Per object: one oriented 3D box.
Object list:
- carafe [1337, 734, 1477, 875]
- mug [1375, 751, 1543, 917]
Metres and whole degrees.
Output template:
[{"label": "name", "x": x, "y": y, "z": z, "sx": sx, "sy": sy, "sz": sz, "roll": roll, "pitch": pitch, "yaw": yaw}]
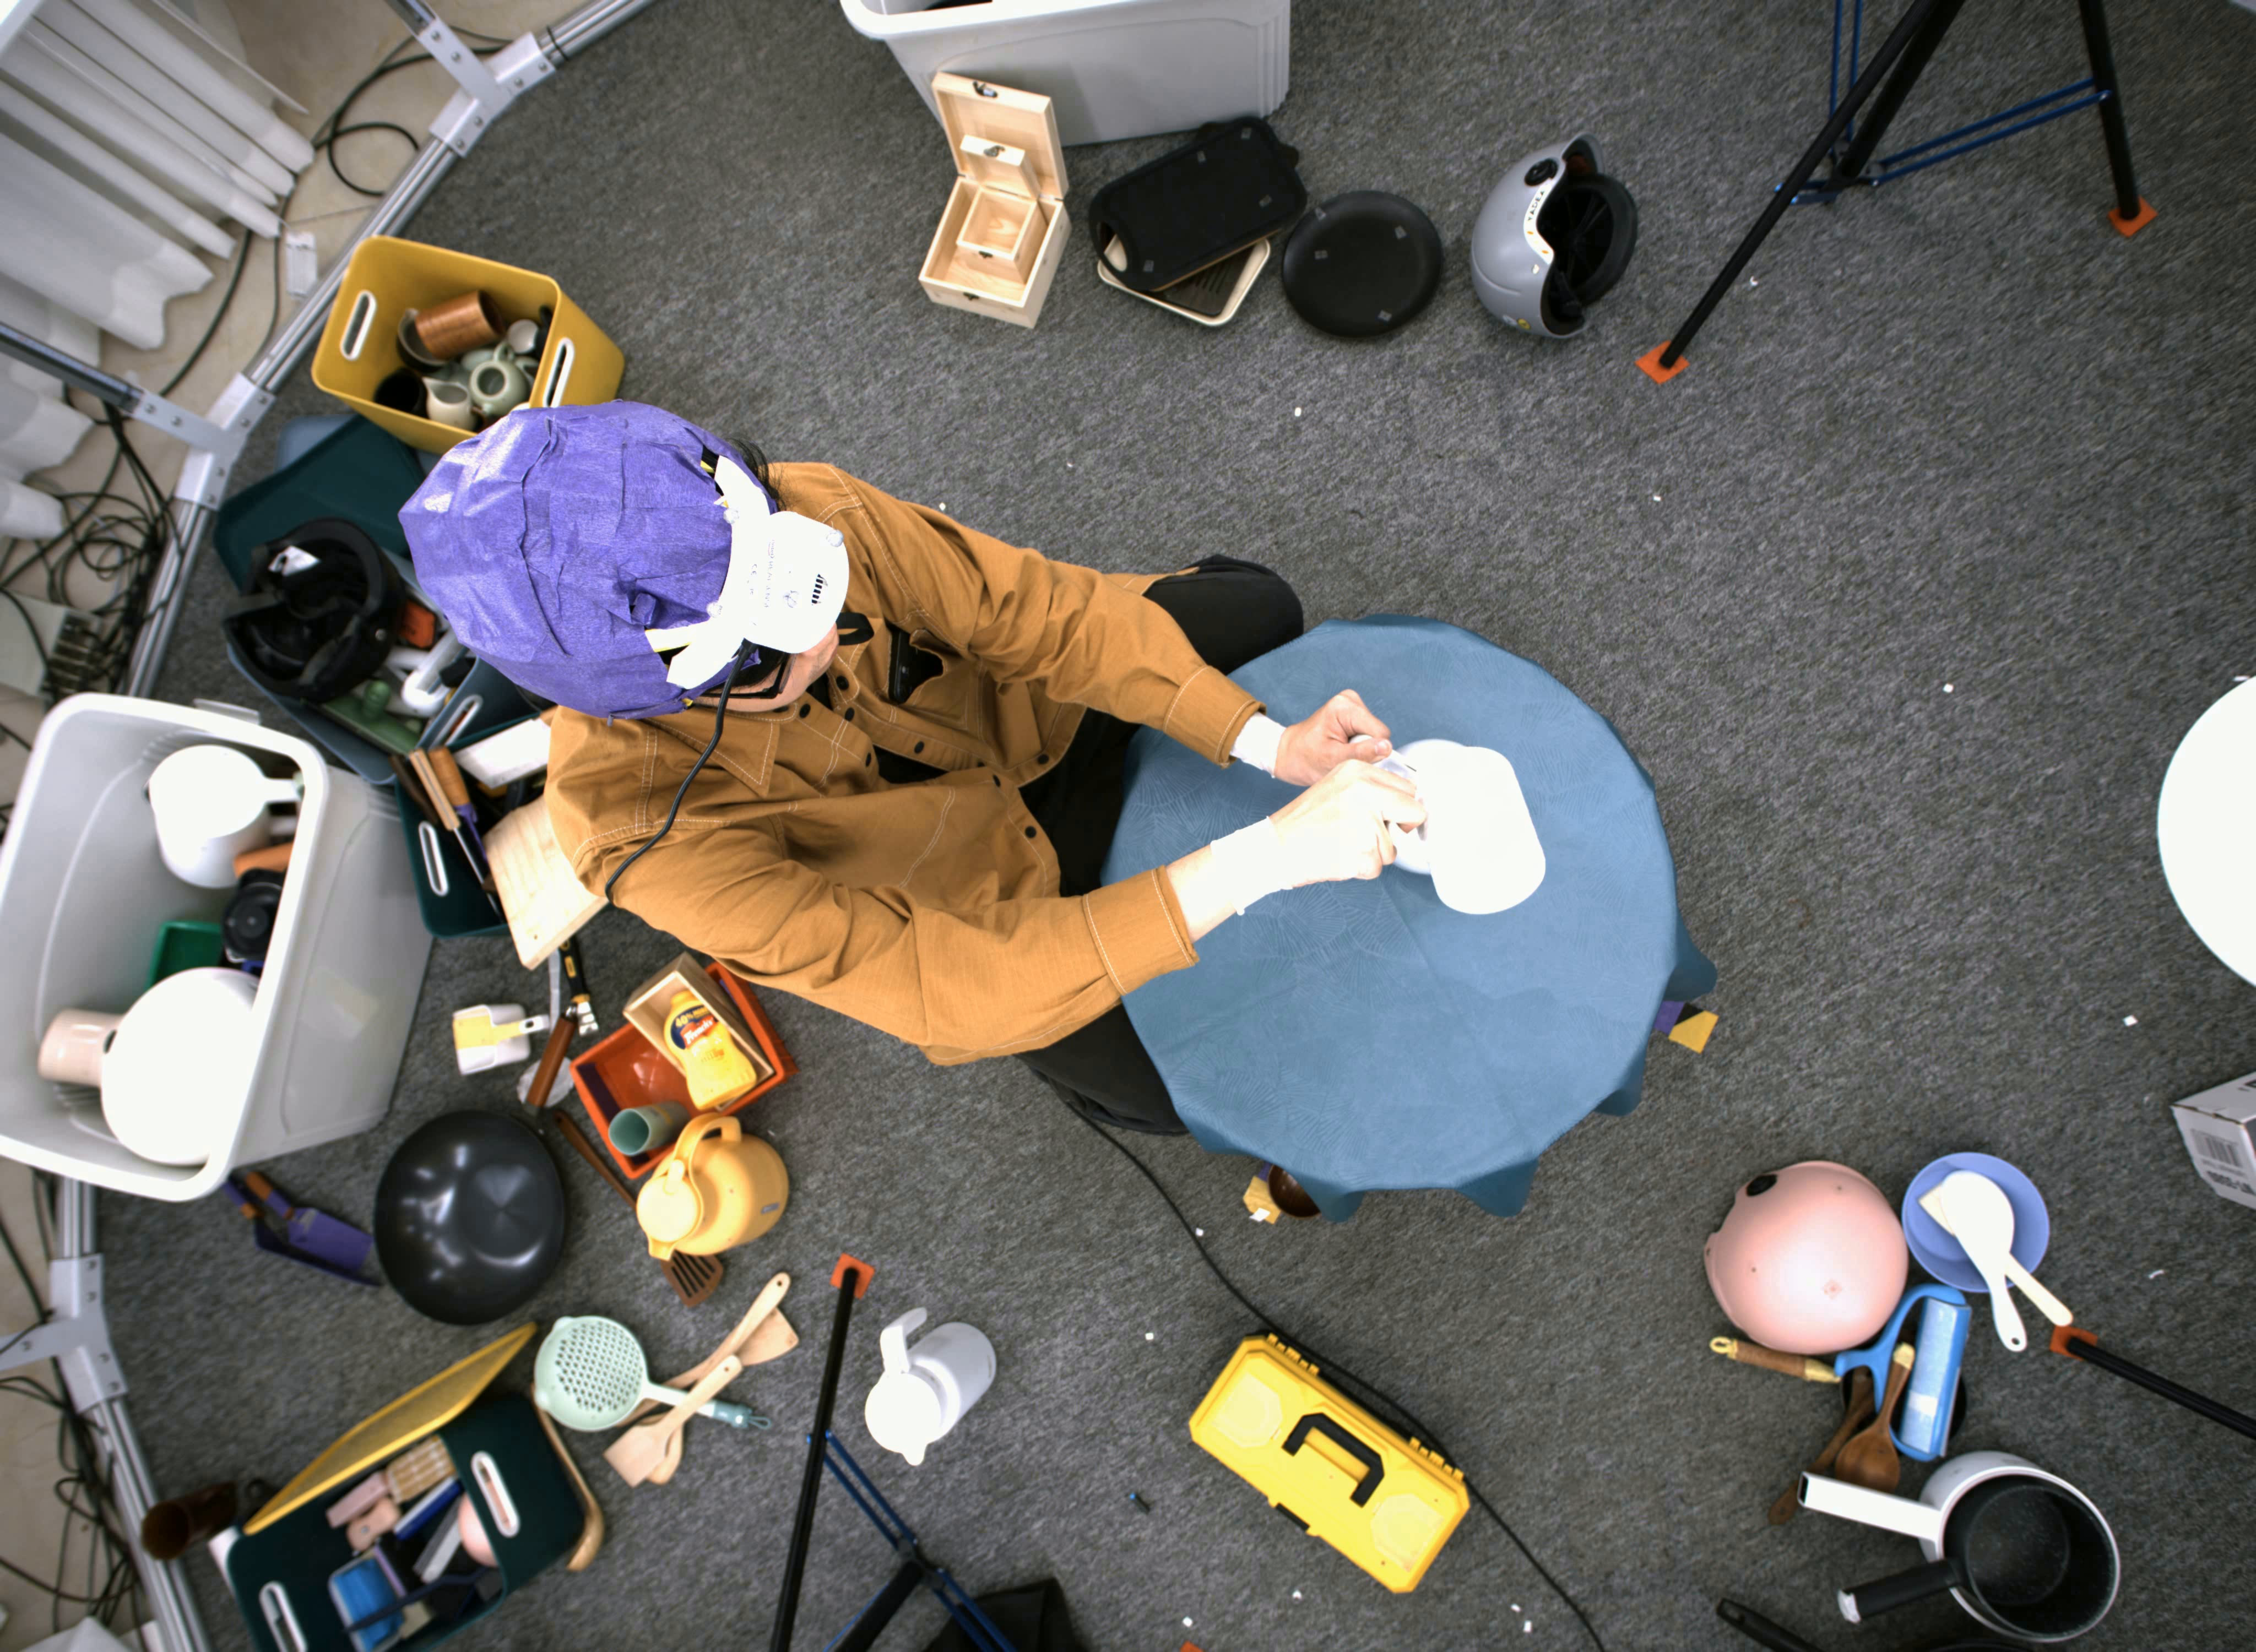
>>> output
[{"label": "carafe", "x": 0.271, "y": -0.029, "z": 1.295, "sx": 0.167, "sy": 0.247, "sz": 0.133, "roll": 35, "pitch": 97, "yaw": 9}, {"label": "mug", "x": 0.250, "y": 0.005, "z": 1.055, "sx": 0.118, "sy": 0.087, "sz": 0.099, "roll": 5, "pitch": 47, "yaw": -12}]
